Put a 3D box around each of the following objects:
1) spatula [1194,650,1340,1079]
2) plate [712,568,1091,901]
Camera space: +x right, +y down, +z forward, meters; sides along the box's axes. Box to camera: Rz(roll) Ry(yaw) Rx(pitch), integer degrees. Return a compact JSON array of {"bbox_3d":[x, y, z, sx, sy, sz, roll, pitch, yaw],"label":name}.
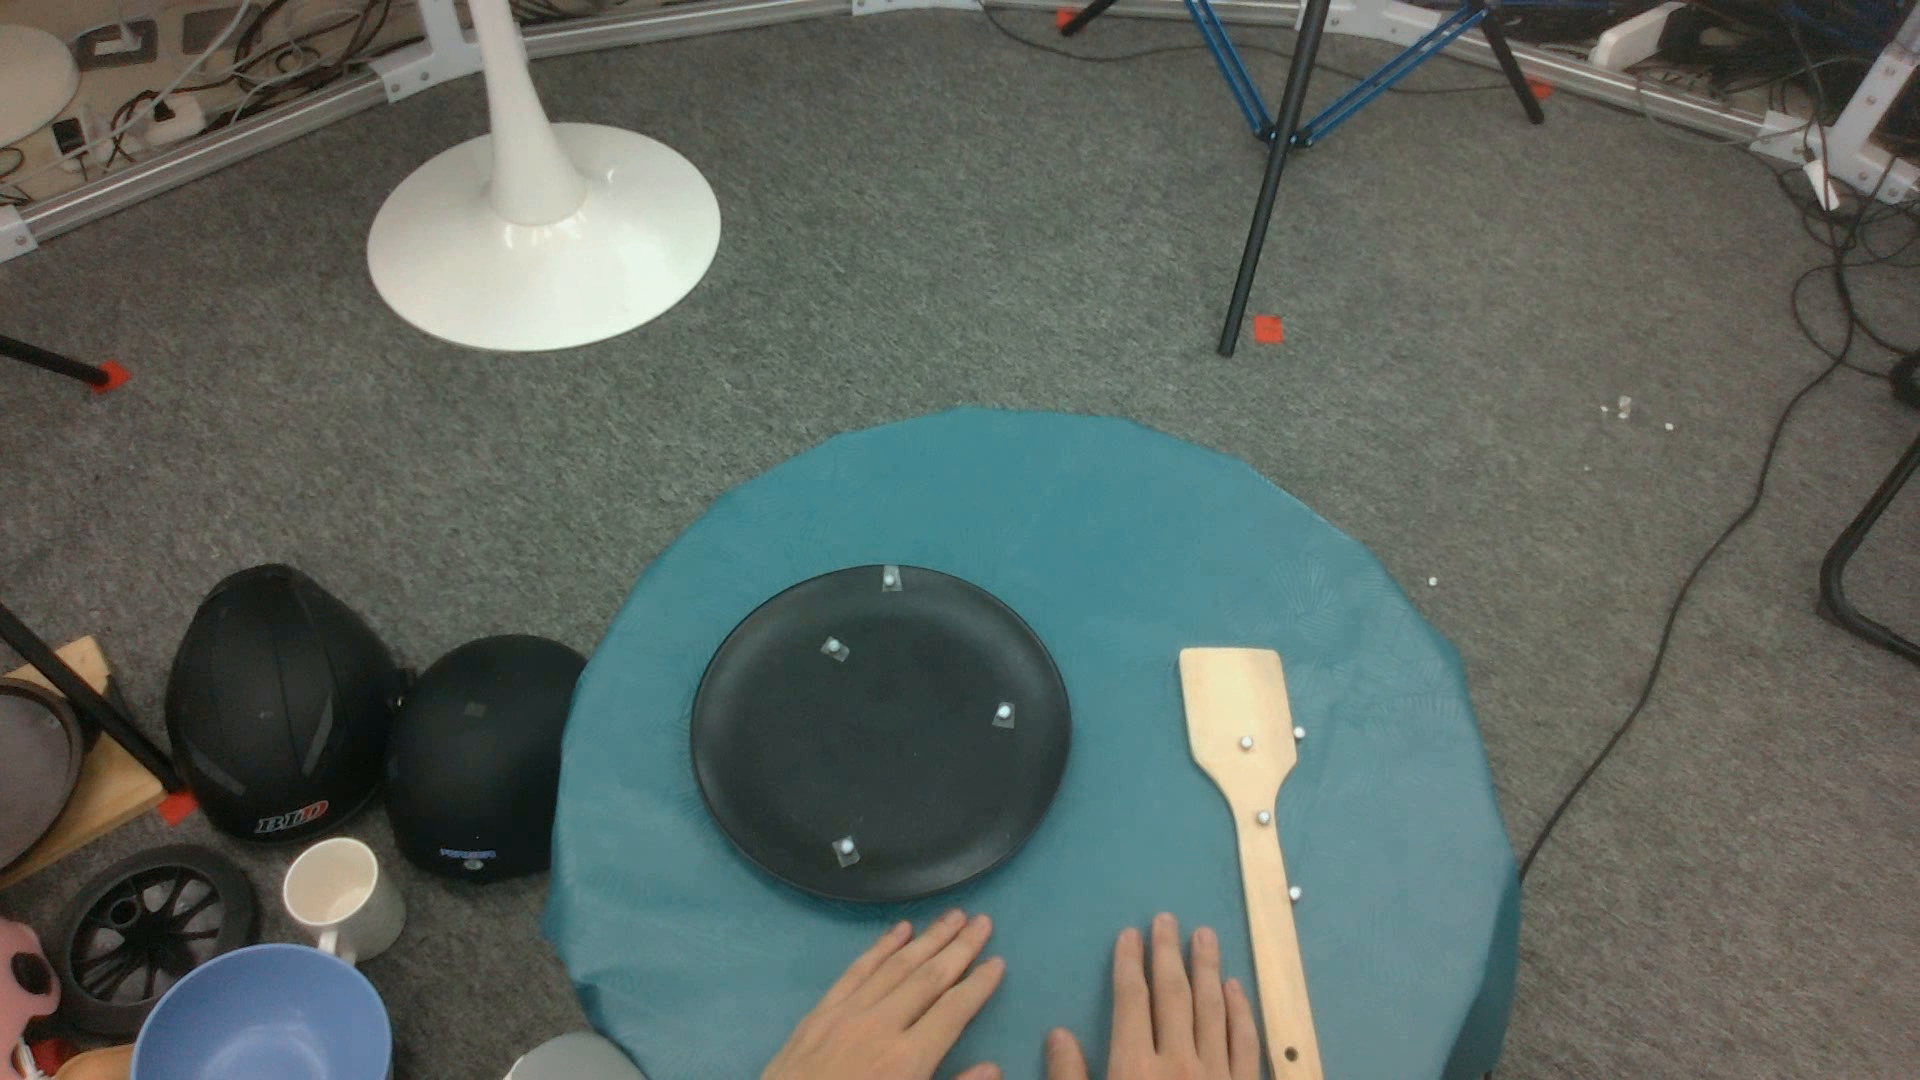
[{"bbox_3d":[0.198,0.194,0.856,0.072,0.010,0.294,1,52,-3],"label":"spatula"},{"bbox_3d":[-0.037,0.122,0.895,0.244,0.023,0.245,1,52,-1],"label":"plate"}]
